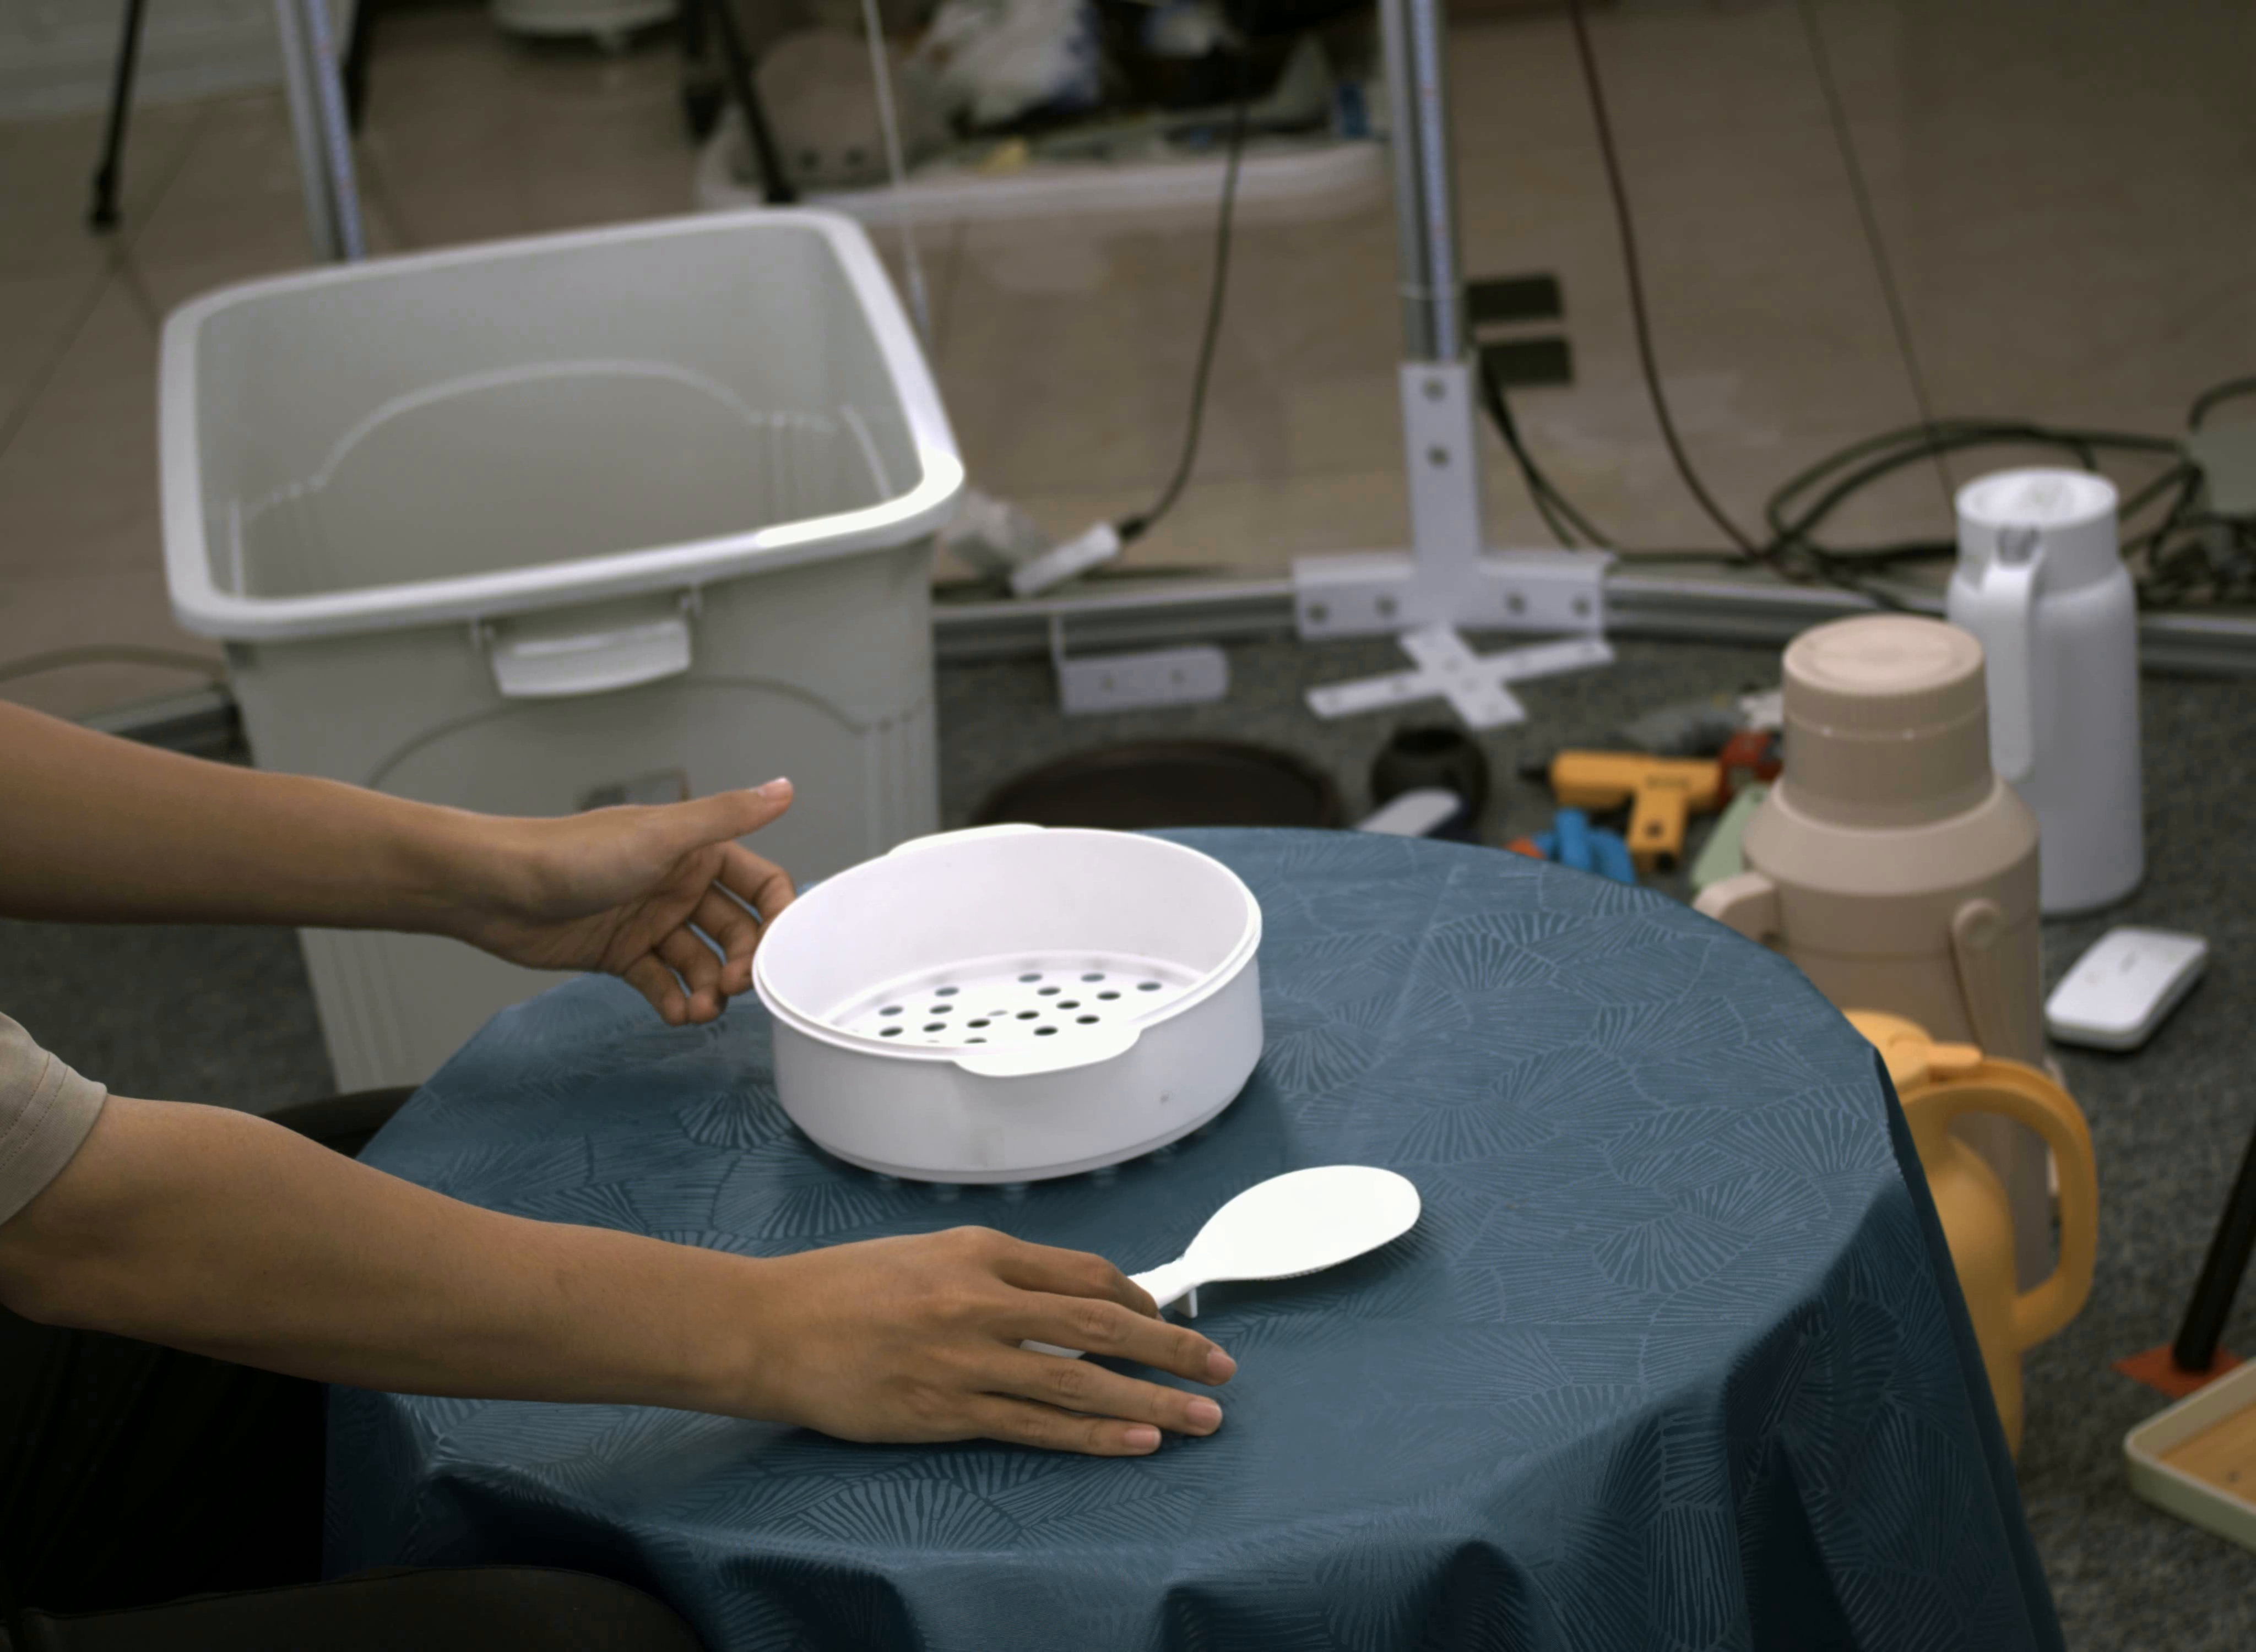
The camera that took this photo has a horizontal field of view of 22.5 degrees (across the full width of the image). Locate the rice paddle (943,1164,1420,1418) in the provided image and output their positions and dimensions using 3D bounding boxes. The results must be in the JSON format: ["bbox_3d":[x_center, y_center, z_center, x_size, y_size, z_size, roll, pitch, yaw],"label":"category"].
[{"bbox_3d":[0.022,0.162,2.061,0.204,0.030,0.068,-23,31,-32],"label":"rice paddle"}]

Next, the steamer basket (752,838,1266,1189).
[{"bbox_3d":[-0.044,0.074,2.224,0.201,0.070,0.227,-8,23,-7],"label":"steamer basket"}]
